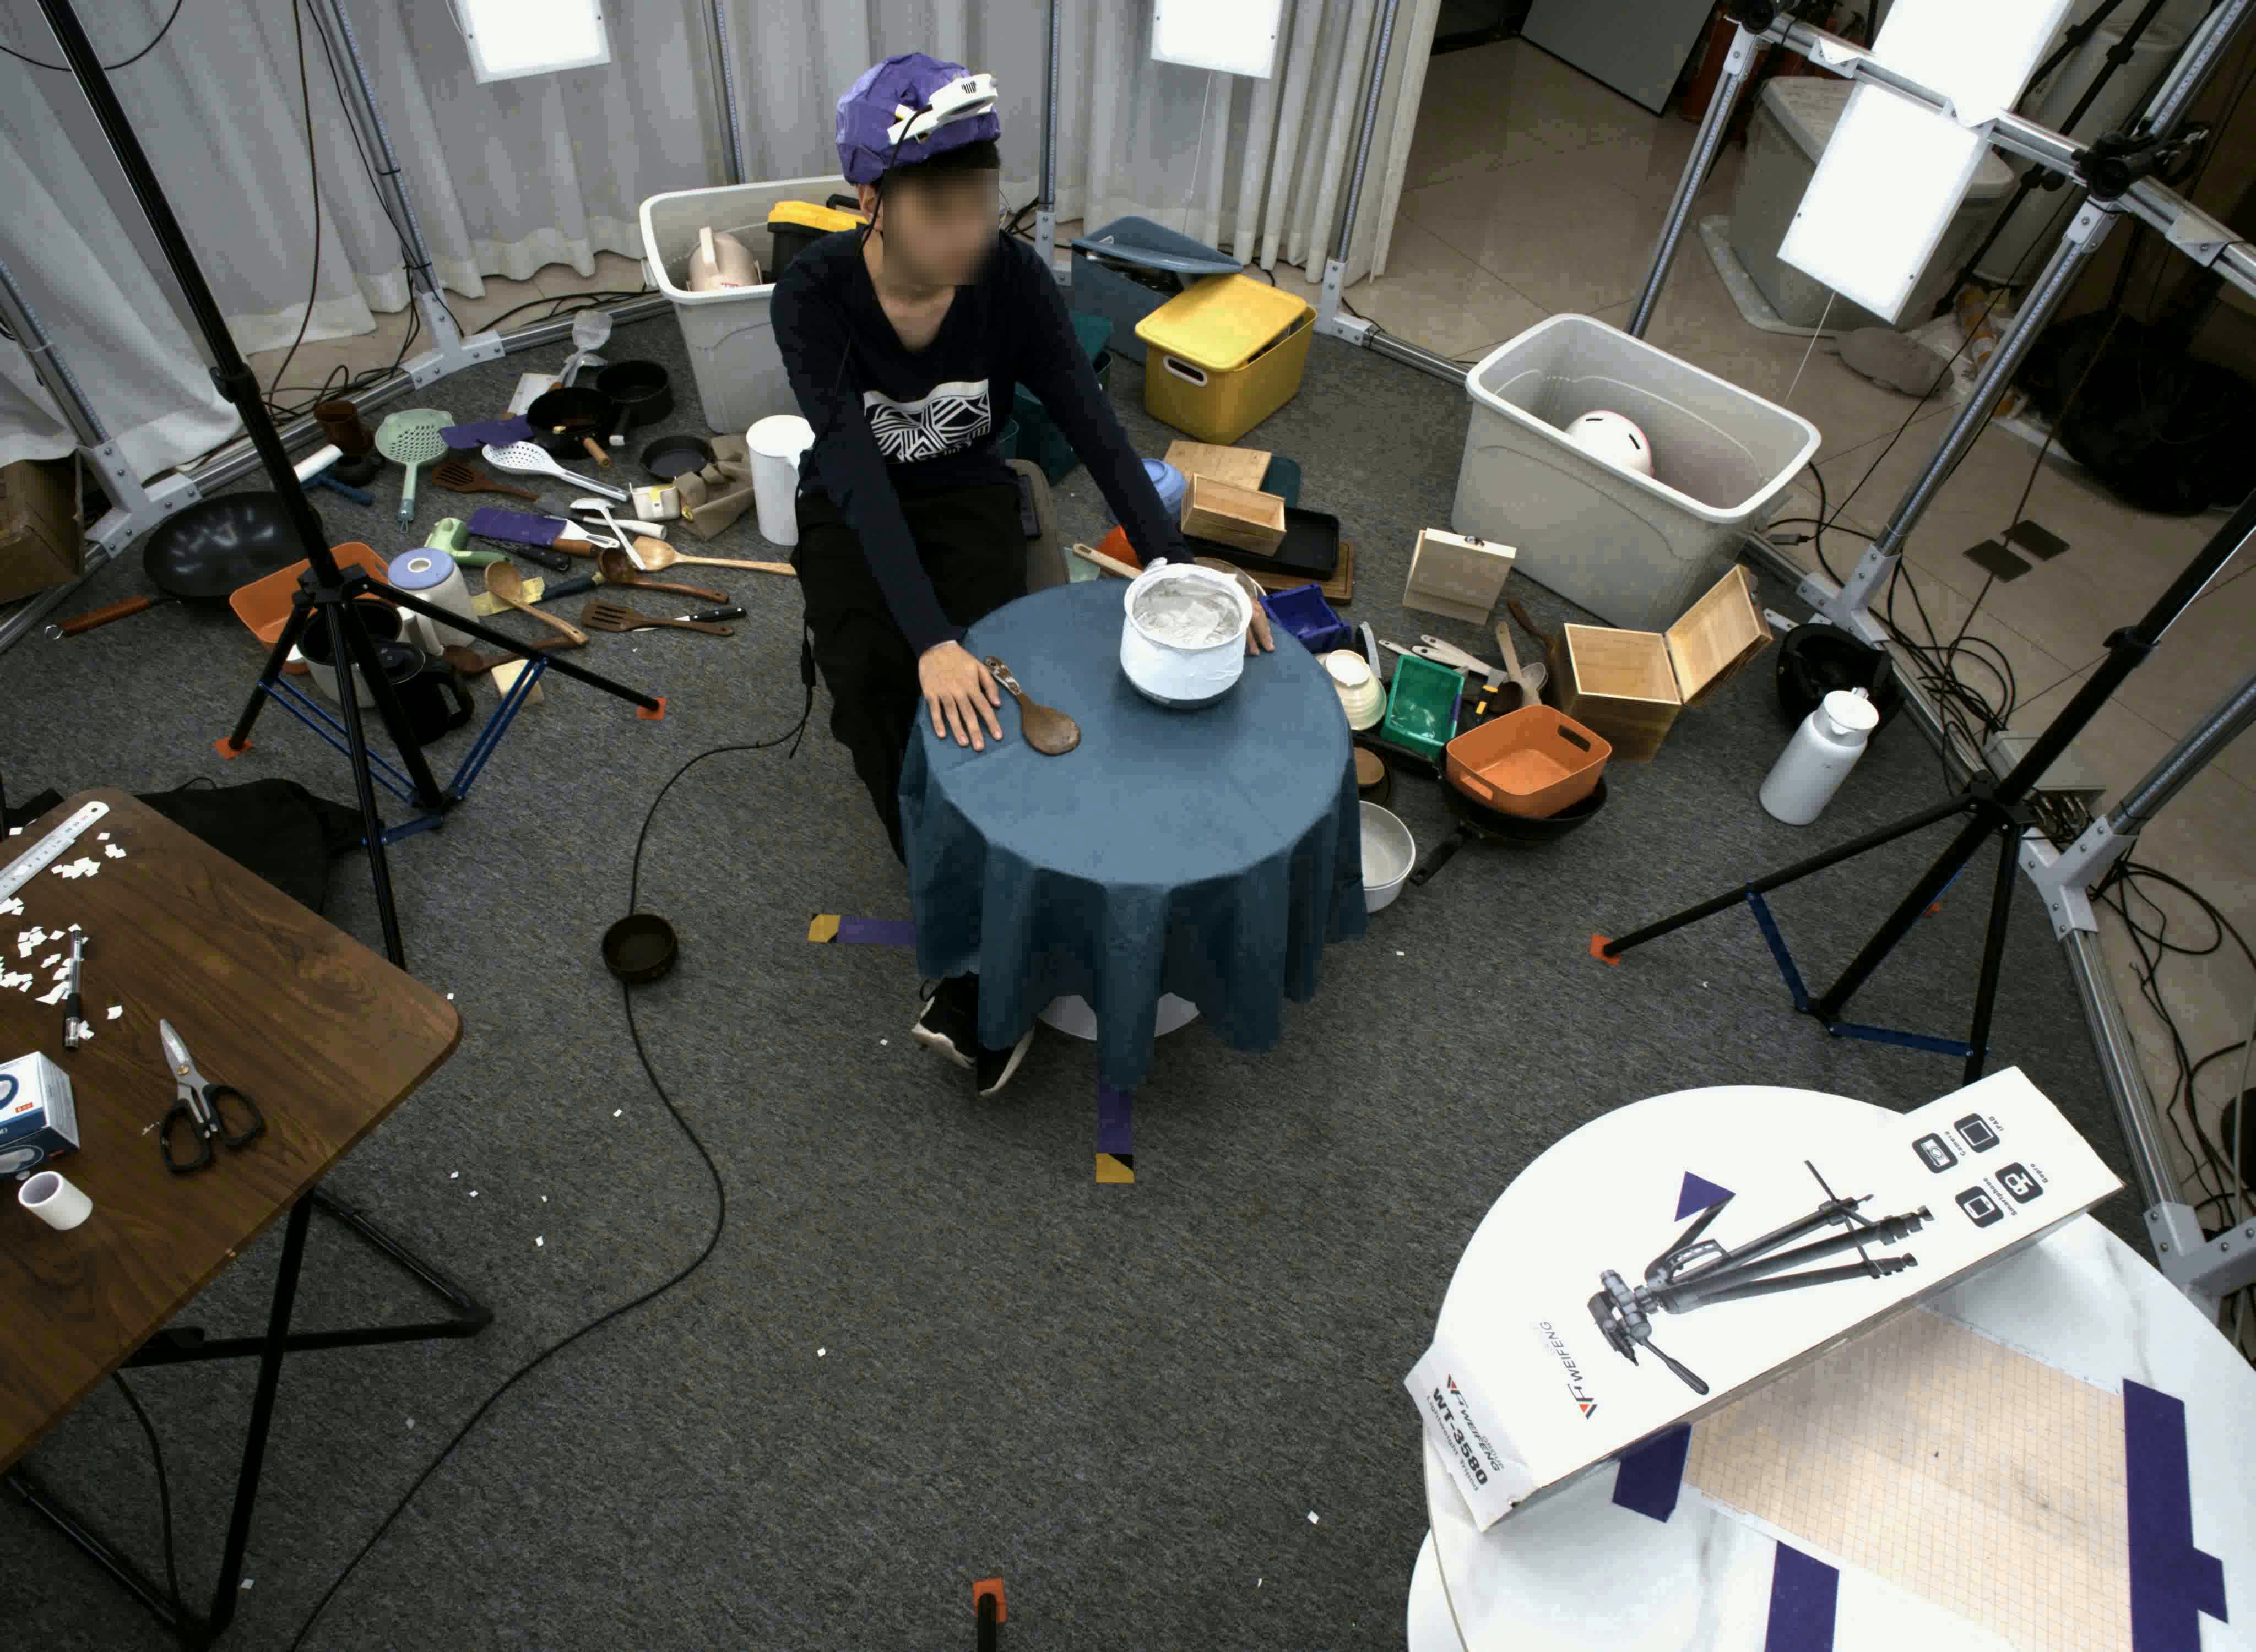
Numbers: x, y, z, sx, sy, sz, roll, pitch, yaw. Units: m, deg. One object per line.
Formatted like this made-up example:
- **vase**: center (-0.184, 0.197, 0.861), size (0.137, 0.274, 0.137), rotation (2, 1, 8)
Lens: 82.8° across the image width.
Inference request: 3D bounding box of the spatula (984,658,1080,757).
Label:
- **spatula**: center (-0.142, -0.173, 1.805), size (0.072, 0.009, 0.220), rotation (-24, 54, -23)

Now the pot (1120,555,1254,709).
- **pot**: center (0.069, -0.285, 1.829), size (0.179, 0.133, 0.239), rotation (-14, 53, -19)
